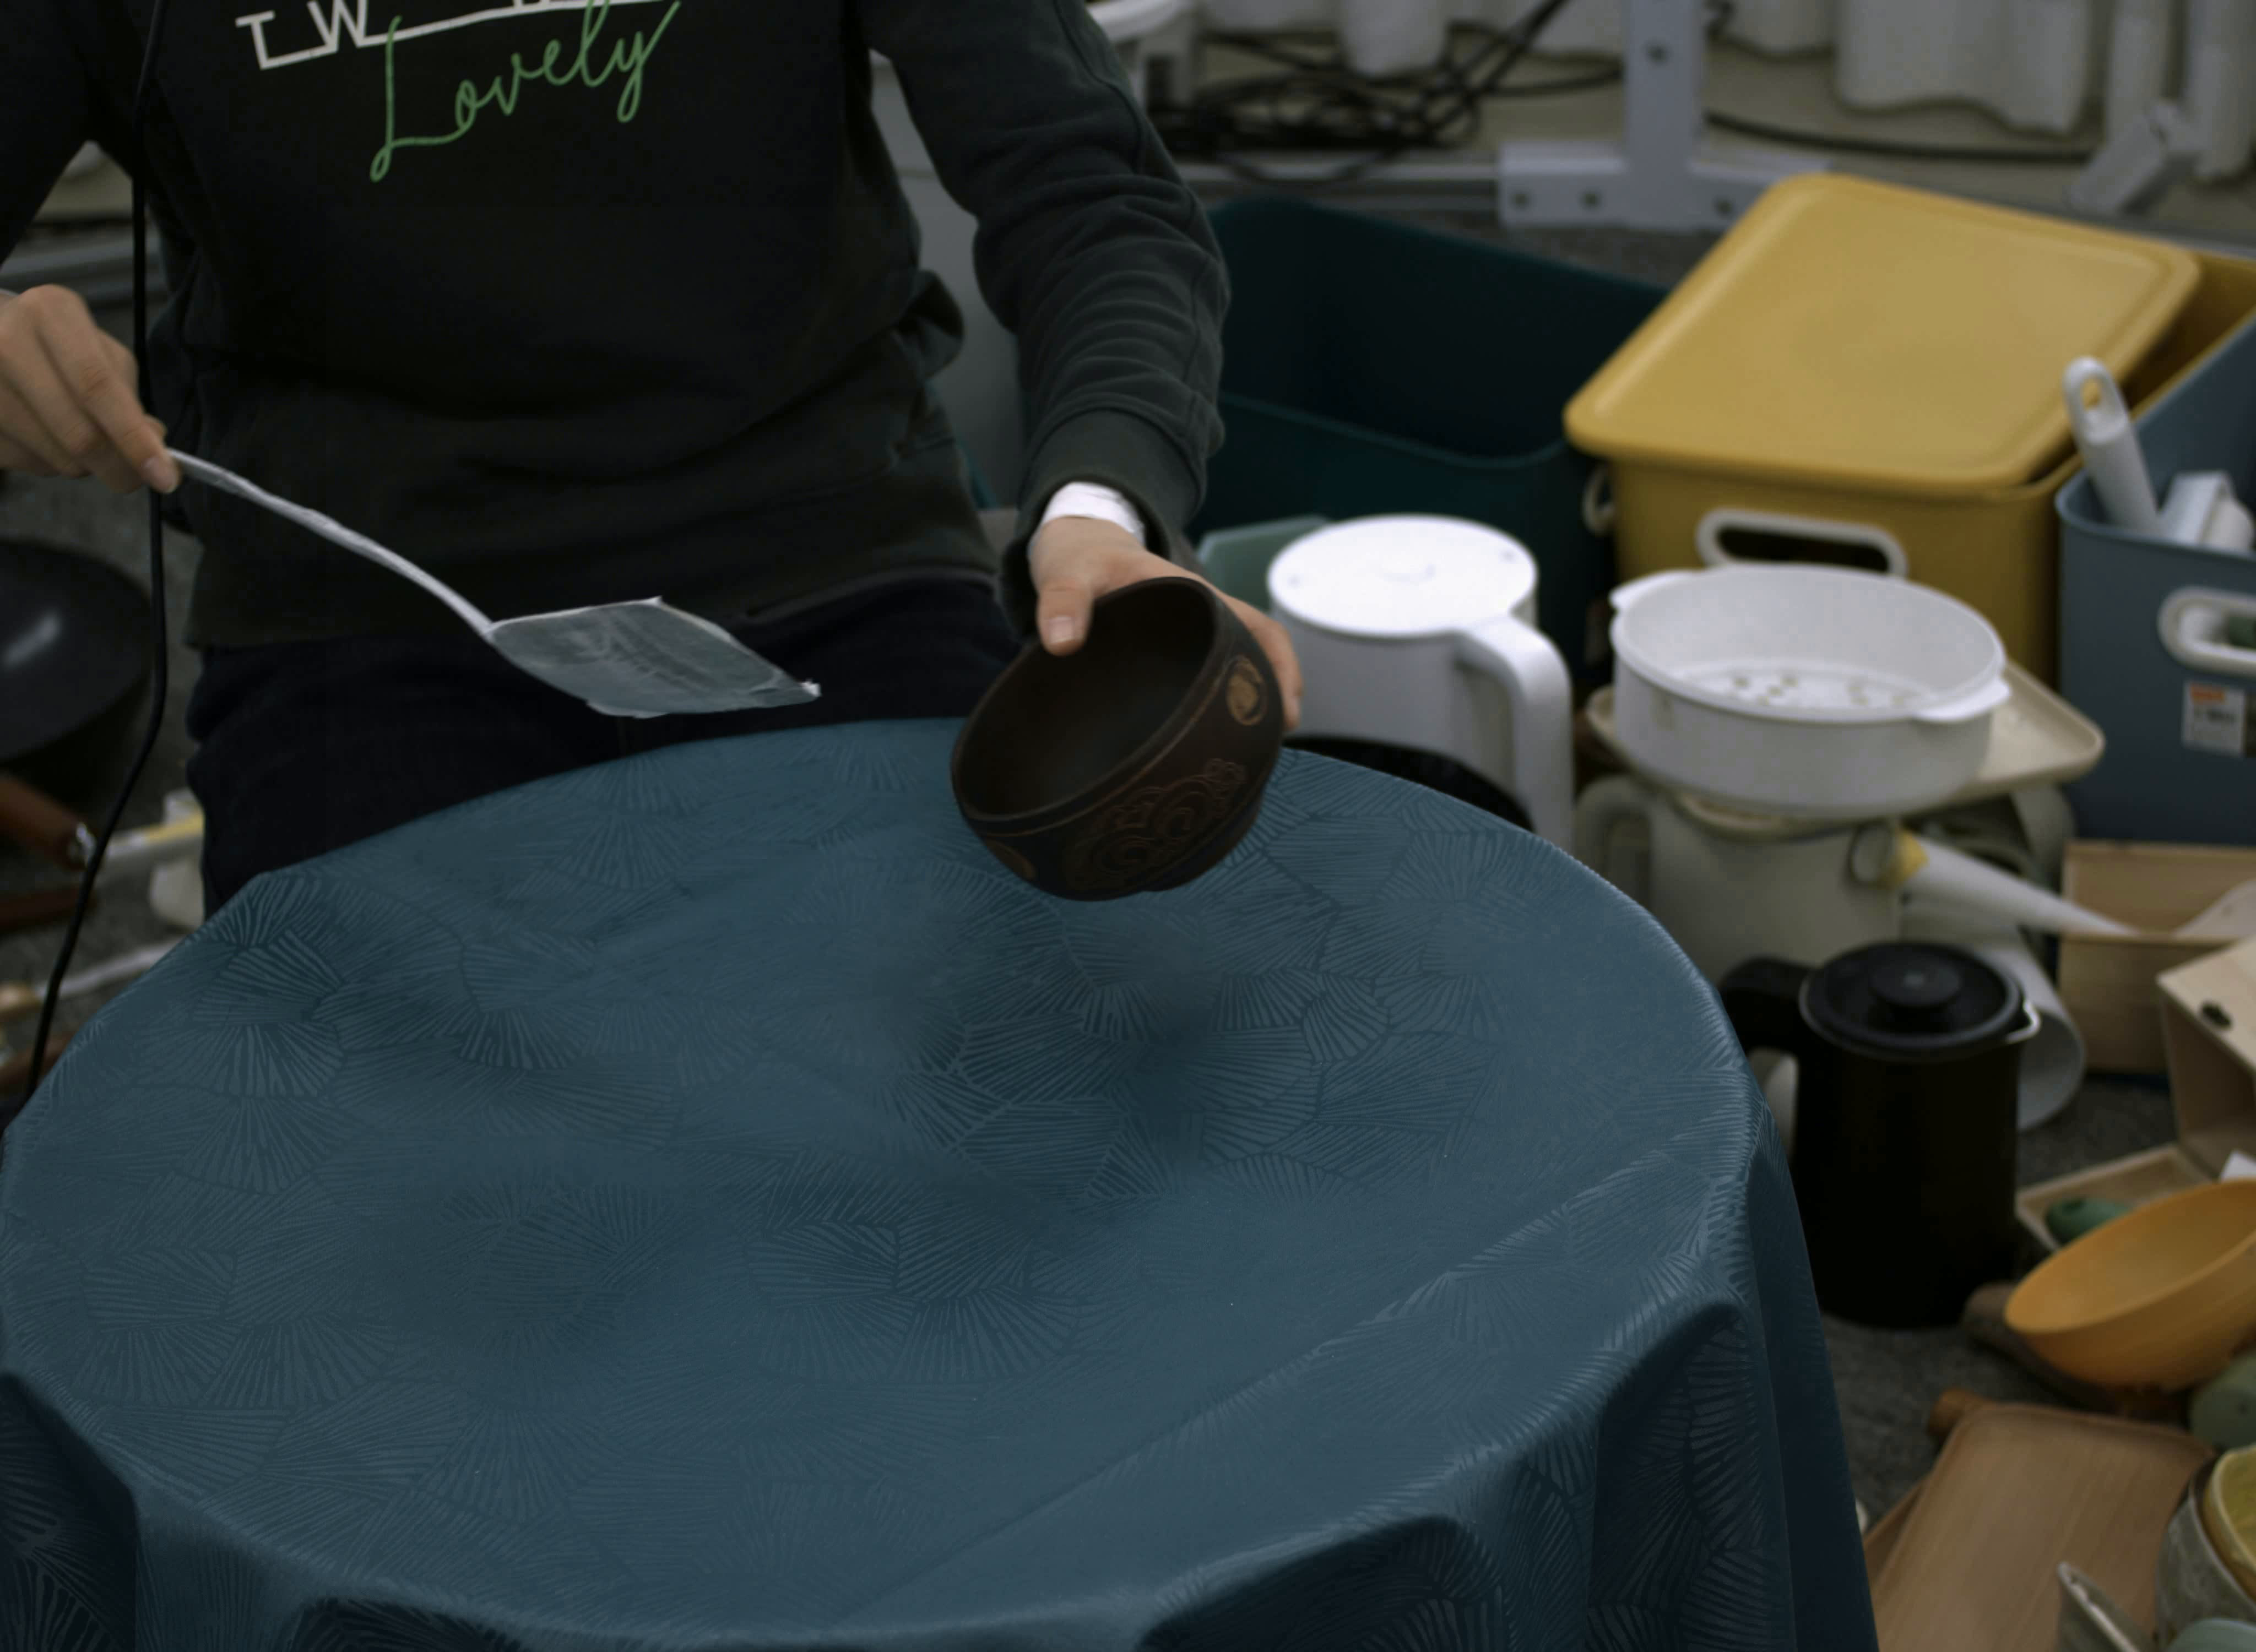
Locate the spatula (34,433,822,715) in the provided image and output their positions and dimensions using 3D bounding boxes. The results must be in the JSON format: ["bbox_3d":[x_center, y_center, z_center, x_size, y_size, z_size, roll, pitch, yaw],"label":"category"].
[{"bbox_3d":[-0.257,-0.096,1.924,0.364,0.045,0.098,24,-3,37],"label":"spatula"}]

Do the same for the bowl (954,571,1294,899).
[{"bbox_3d":[0.006,-0.022,1.917,0.117,0.069,0.120,-28,29,18],"label":"bowl"}]
